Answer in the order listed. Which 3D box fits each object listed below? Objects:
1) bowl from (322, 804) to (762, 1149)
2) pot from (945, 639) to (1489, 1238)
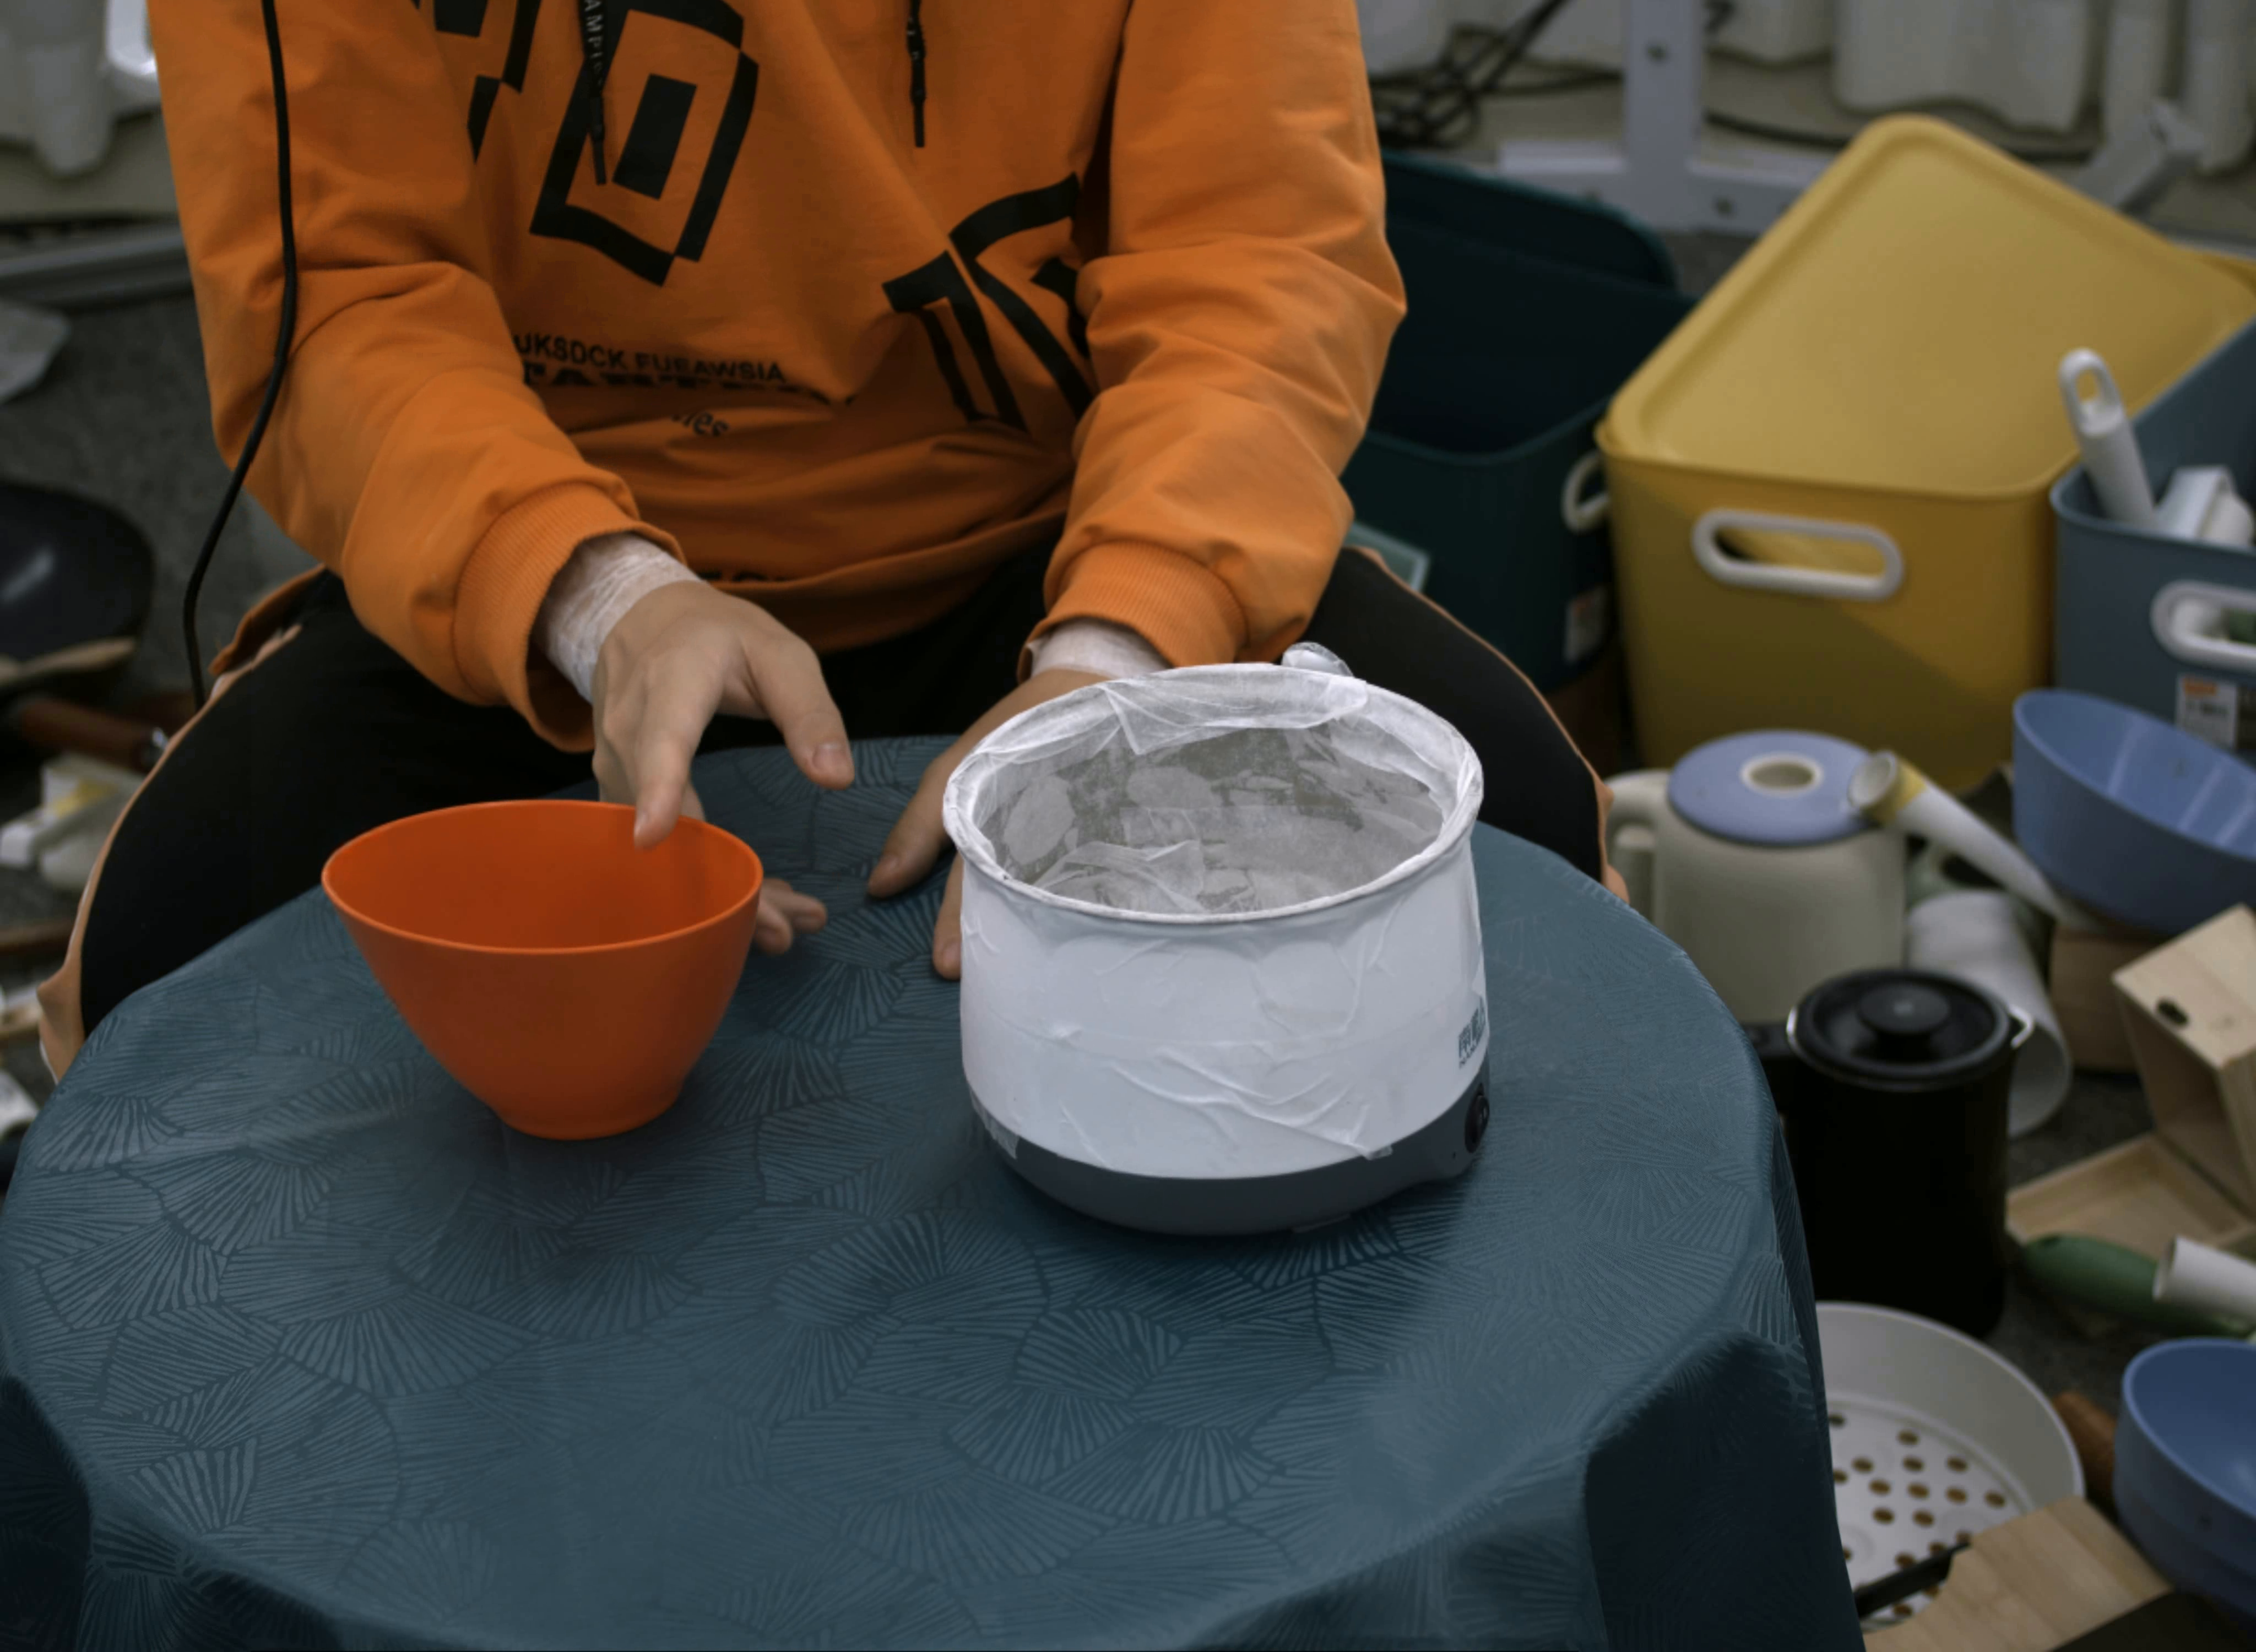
[{"bbox_3d":[-0.195,0.054,1.907,0.147,0.103,0.150,-2,26,1],"label":"bowl"},{"bbox_3d":[0.040,0.030,1.887,0.177,0.135,0.238,6,29,17],"label":"pot"}]
